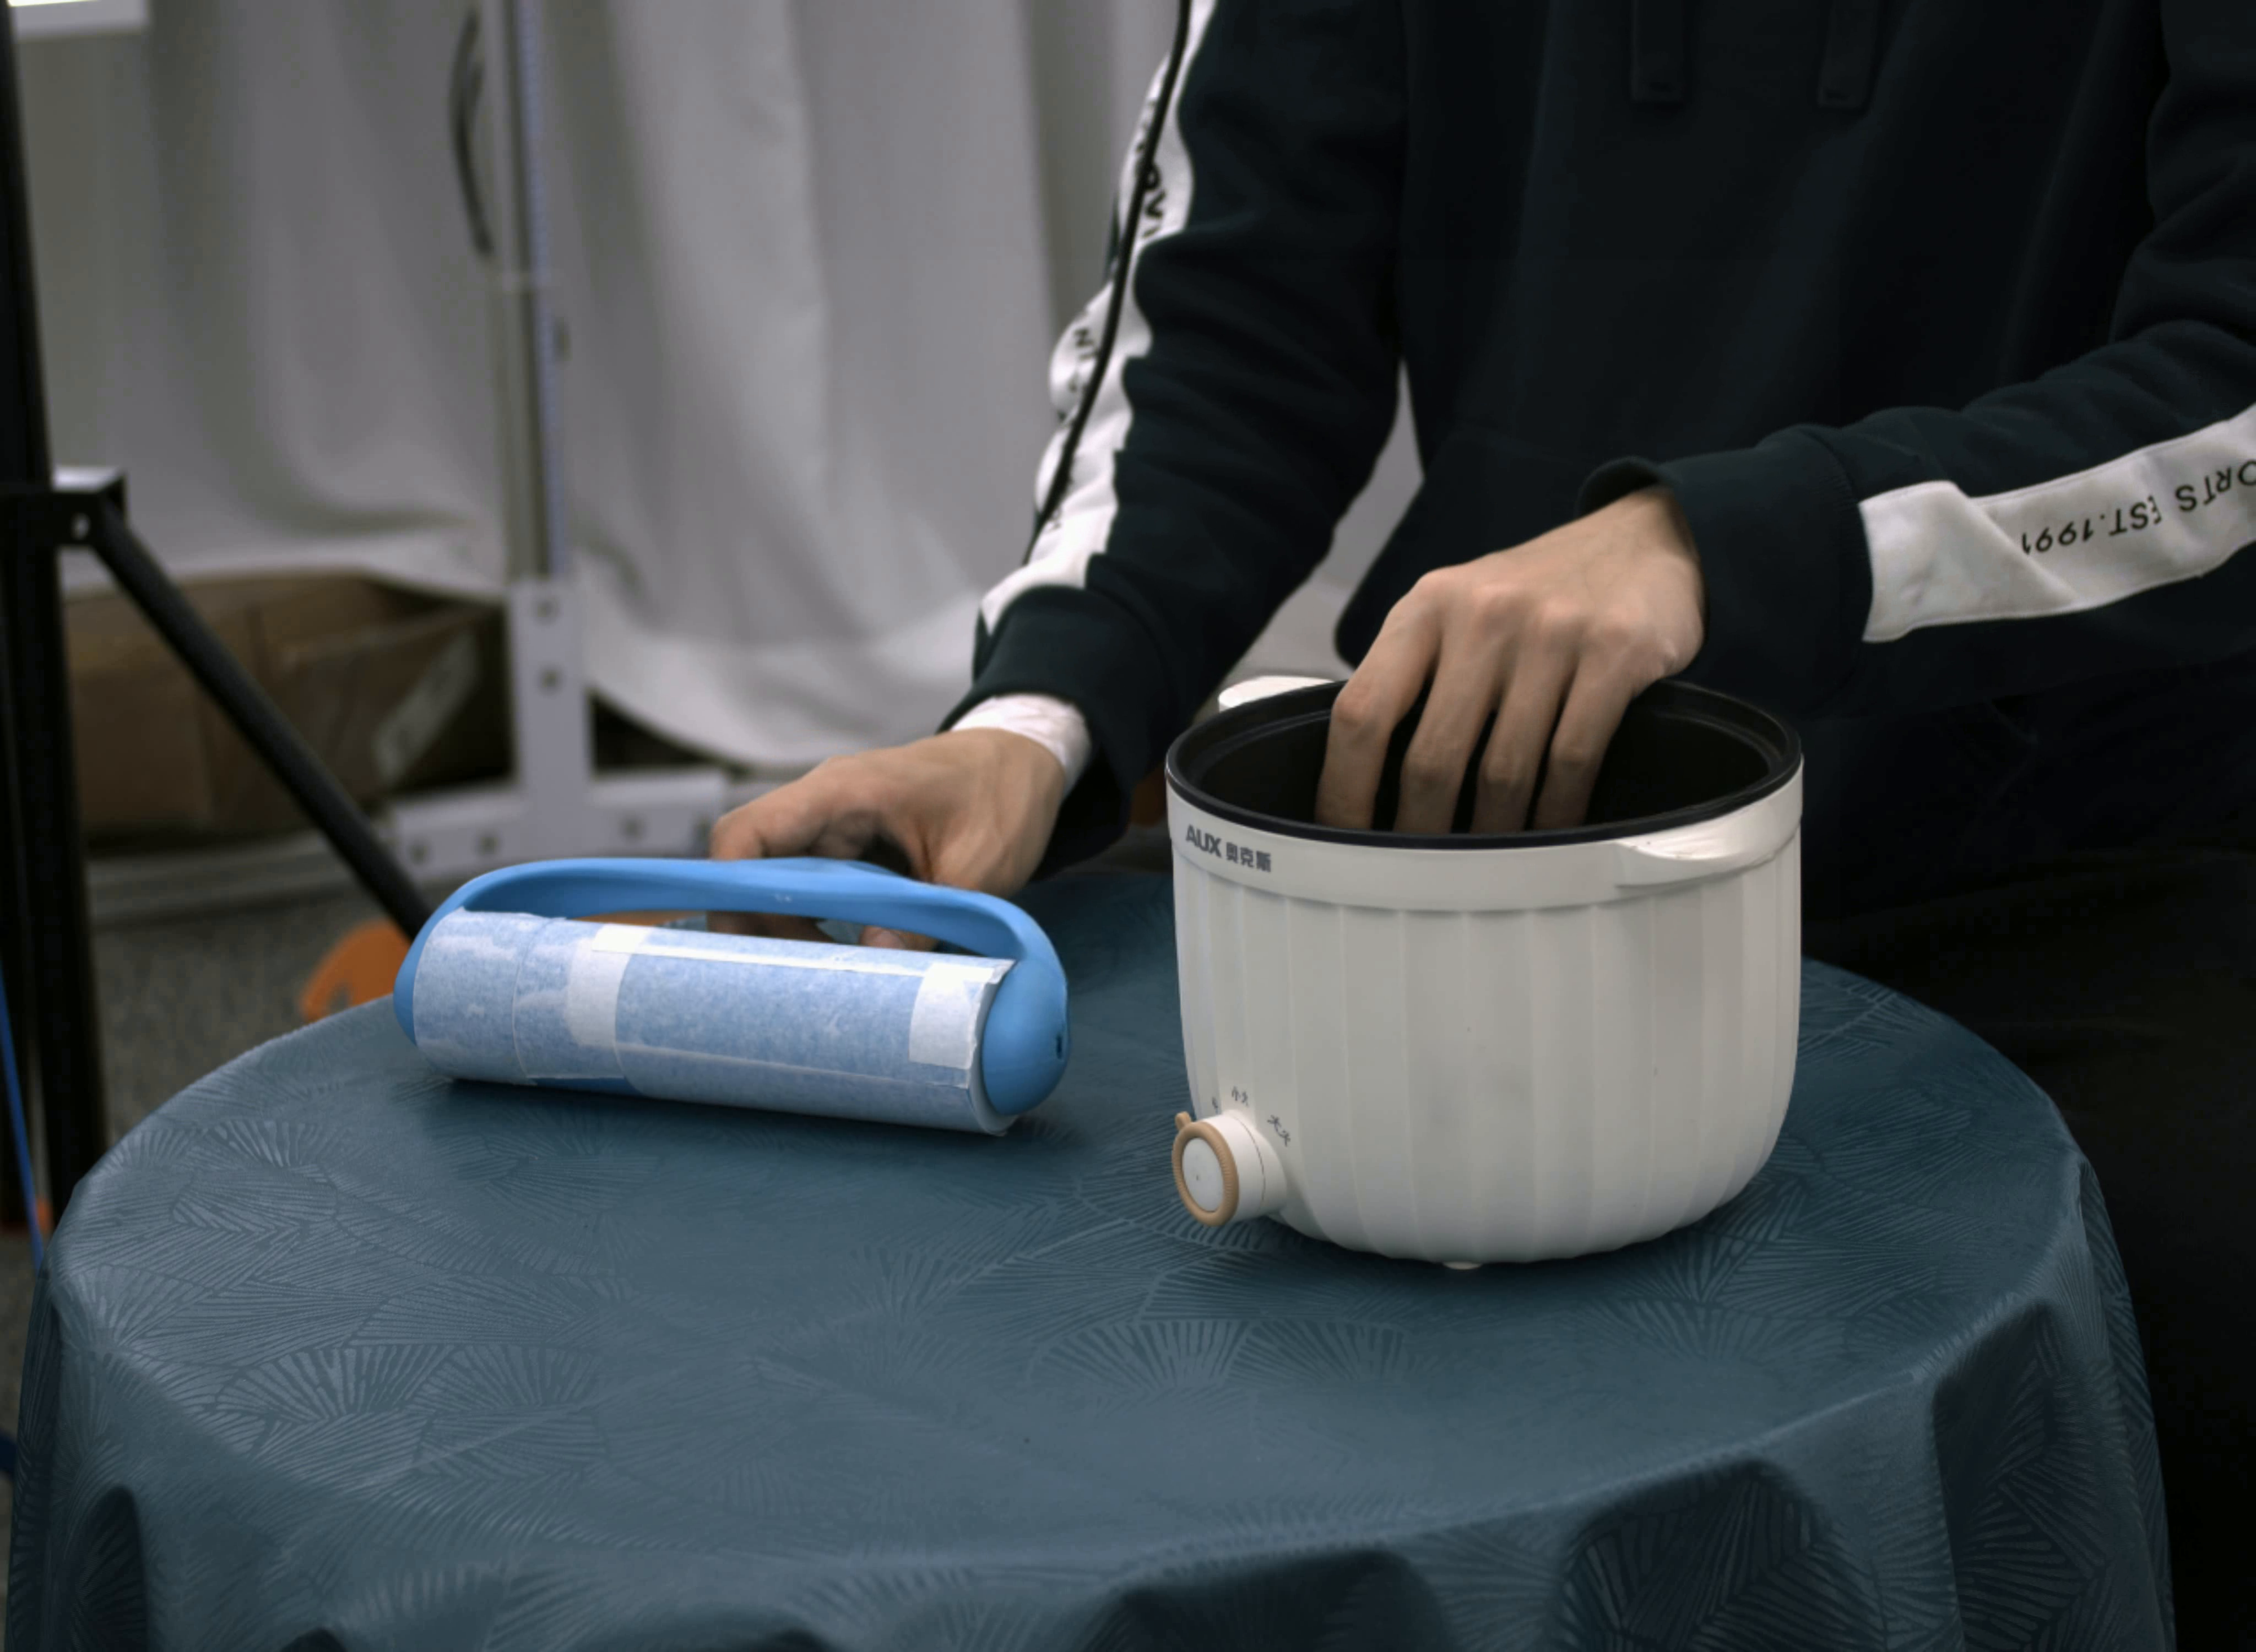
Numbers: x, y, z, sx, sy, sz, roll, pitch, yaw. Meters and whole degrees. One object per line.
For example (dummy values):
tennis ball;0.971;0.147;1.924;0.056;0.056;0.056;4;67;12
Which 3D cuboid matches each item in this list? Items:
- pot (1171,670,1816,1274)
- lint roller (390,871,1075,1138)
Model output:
pot;0.100;0.044;1.514;0.186;0.143;0.246;-8;15;-32
lint roller;-0.105;0.045;1.699;0.232;0.068;0.178;1;17;21
